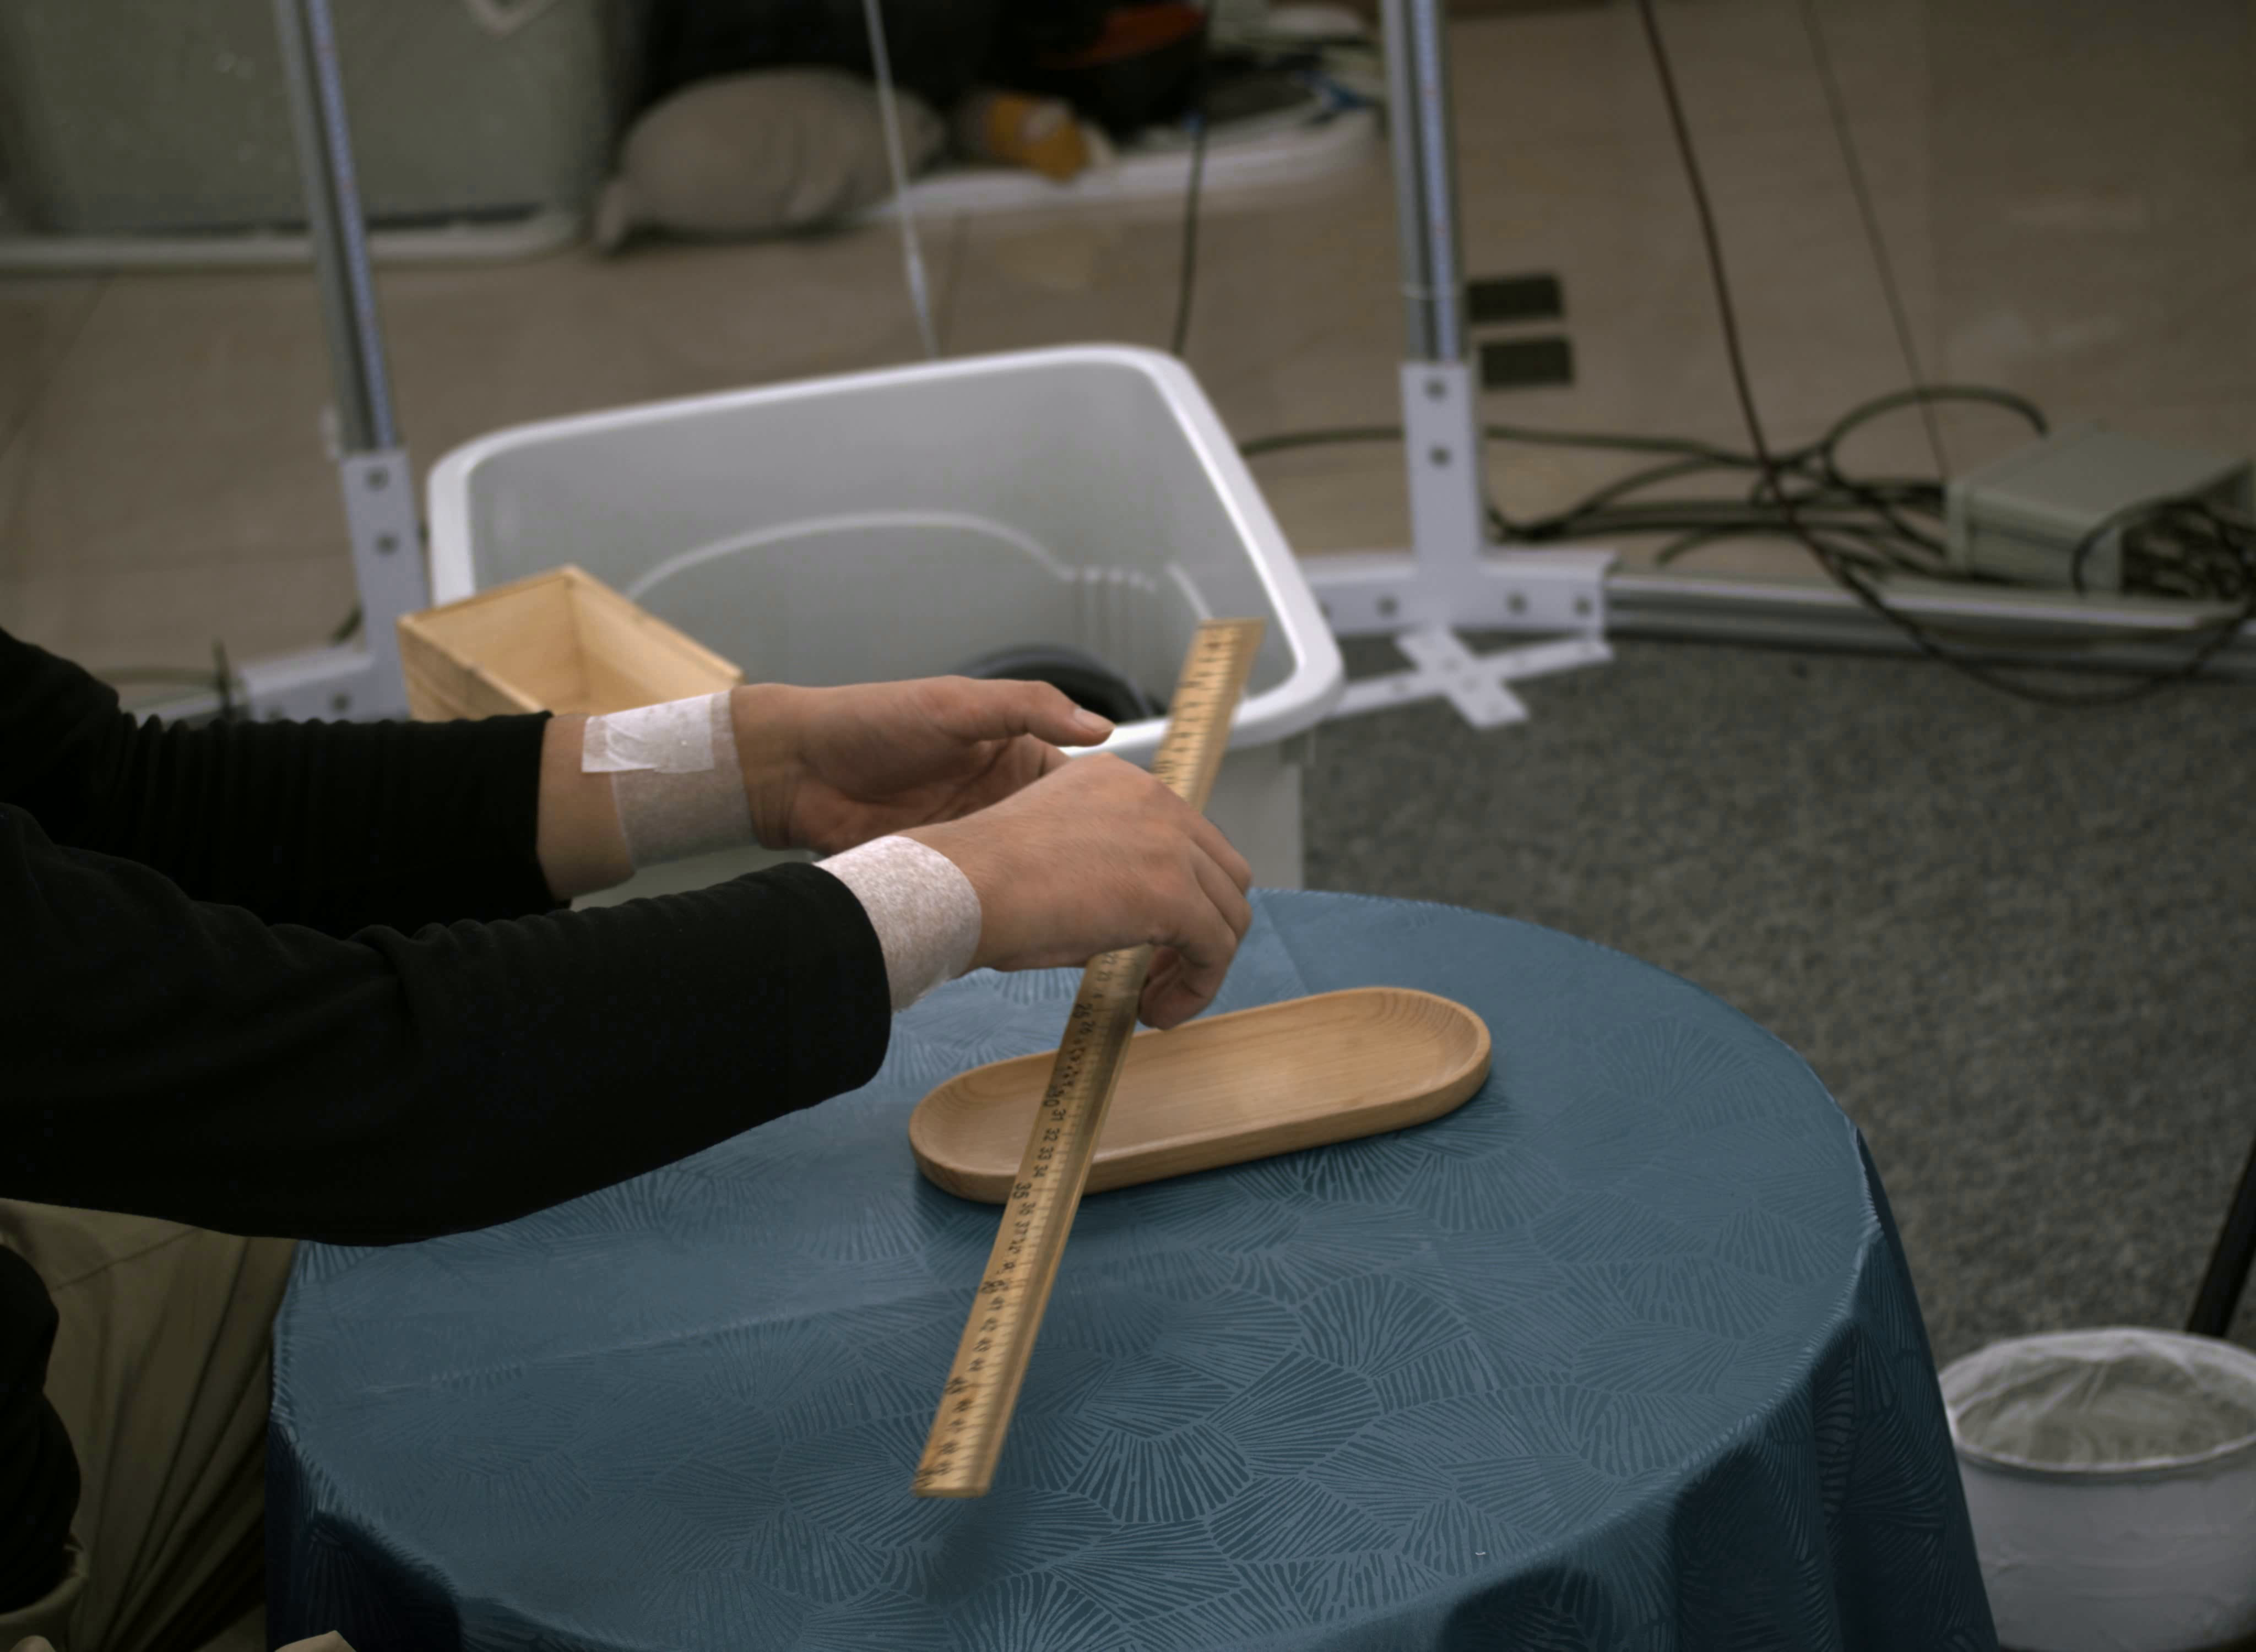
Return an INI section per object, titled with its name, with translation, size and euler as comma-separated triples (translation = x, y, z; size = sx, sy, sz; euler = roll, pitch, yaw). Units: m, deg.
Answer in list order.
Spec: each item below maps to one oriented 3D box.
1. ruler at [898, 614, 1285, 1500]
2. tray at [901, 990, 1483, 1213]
[ruler]
translation = -0.008, 0.069, 2.053
size = 0.027, 0.006, 0.492
euler = -3, 37, 20
[tray]
translation = 0.026, 0.107, 2.192
size = 0.230, 0.020, 0.100
euler = -14, 24, -11
